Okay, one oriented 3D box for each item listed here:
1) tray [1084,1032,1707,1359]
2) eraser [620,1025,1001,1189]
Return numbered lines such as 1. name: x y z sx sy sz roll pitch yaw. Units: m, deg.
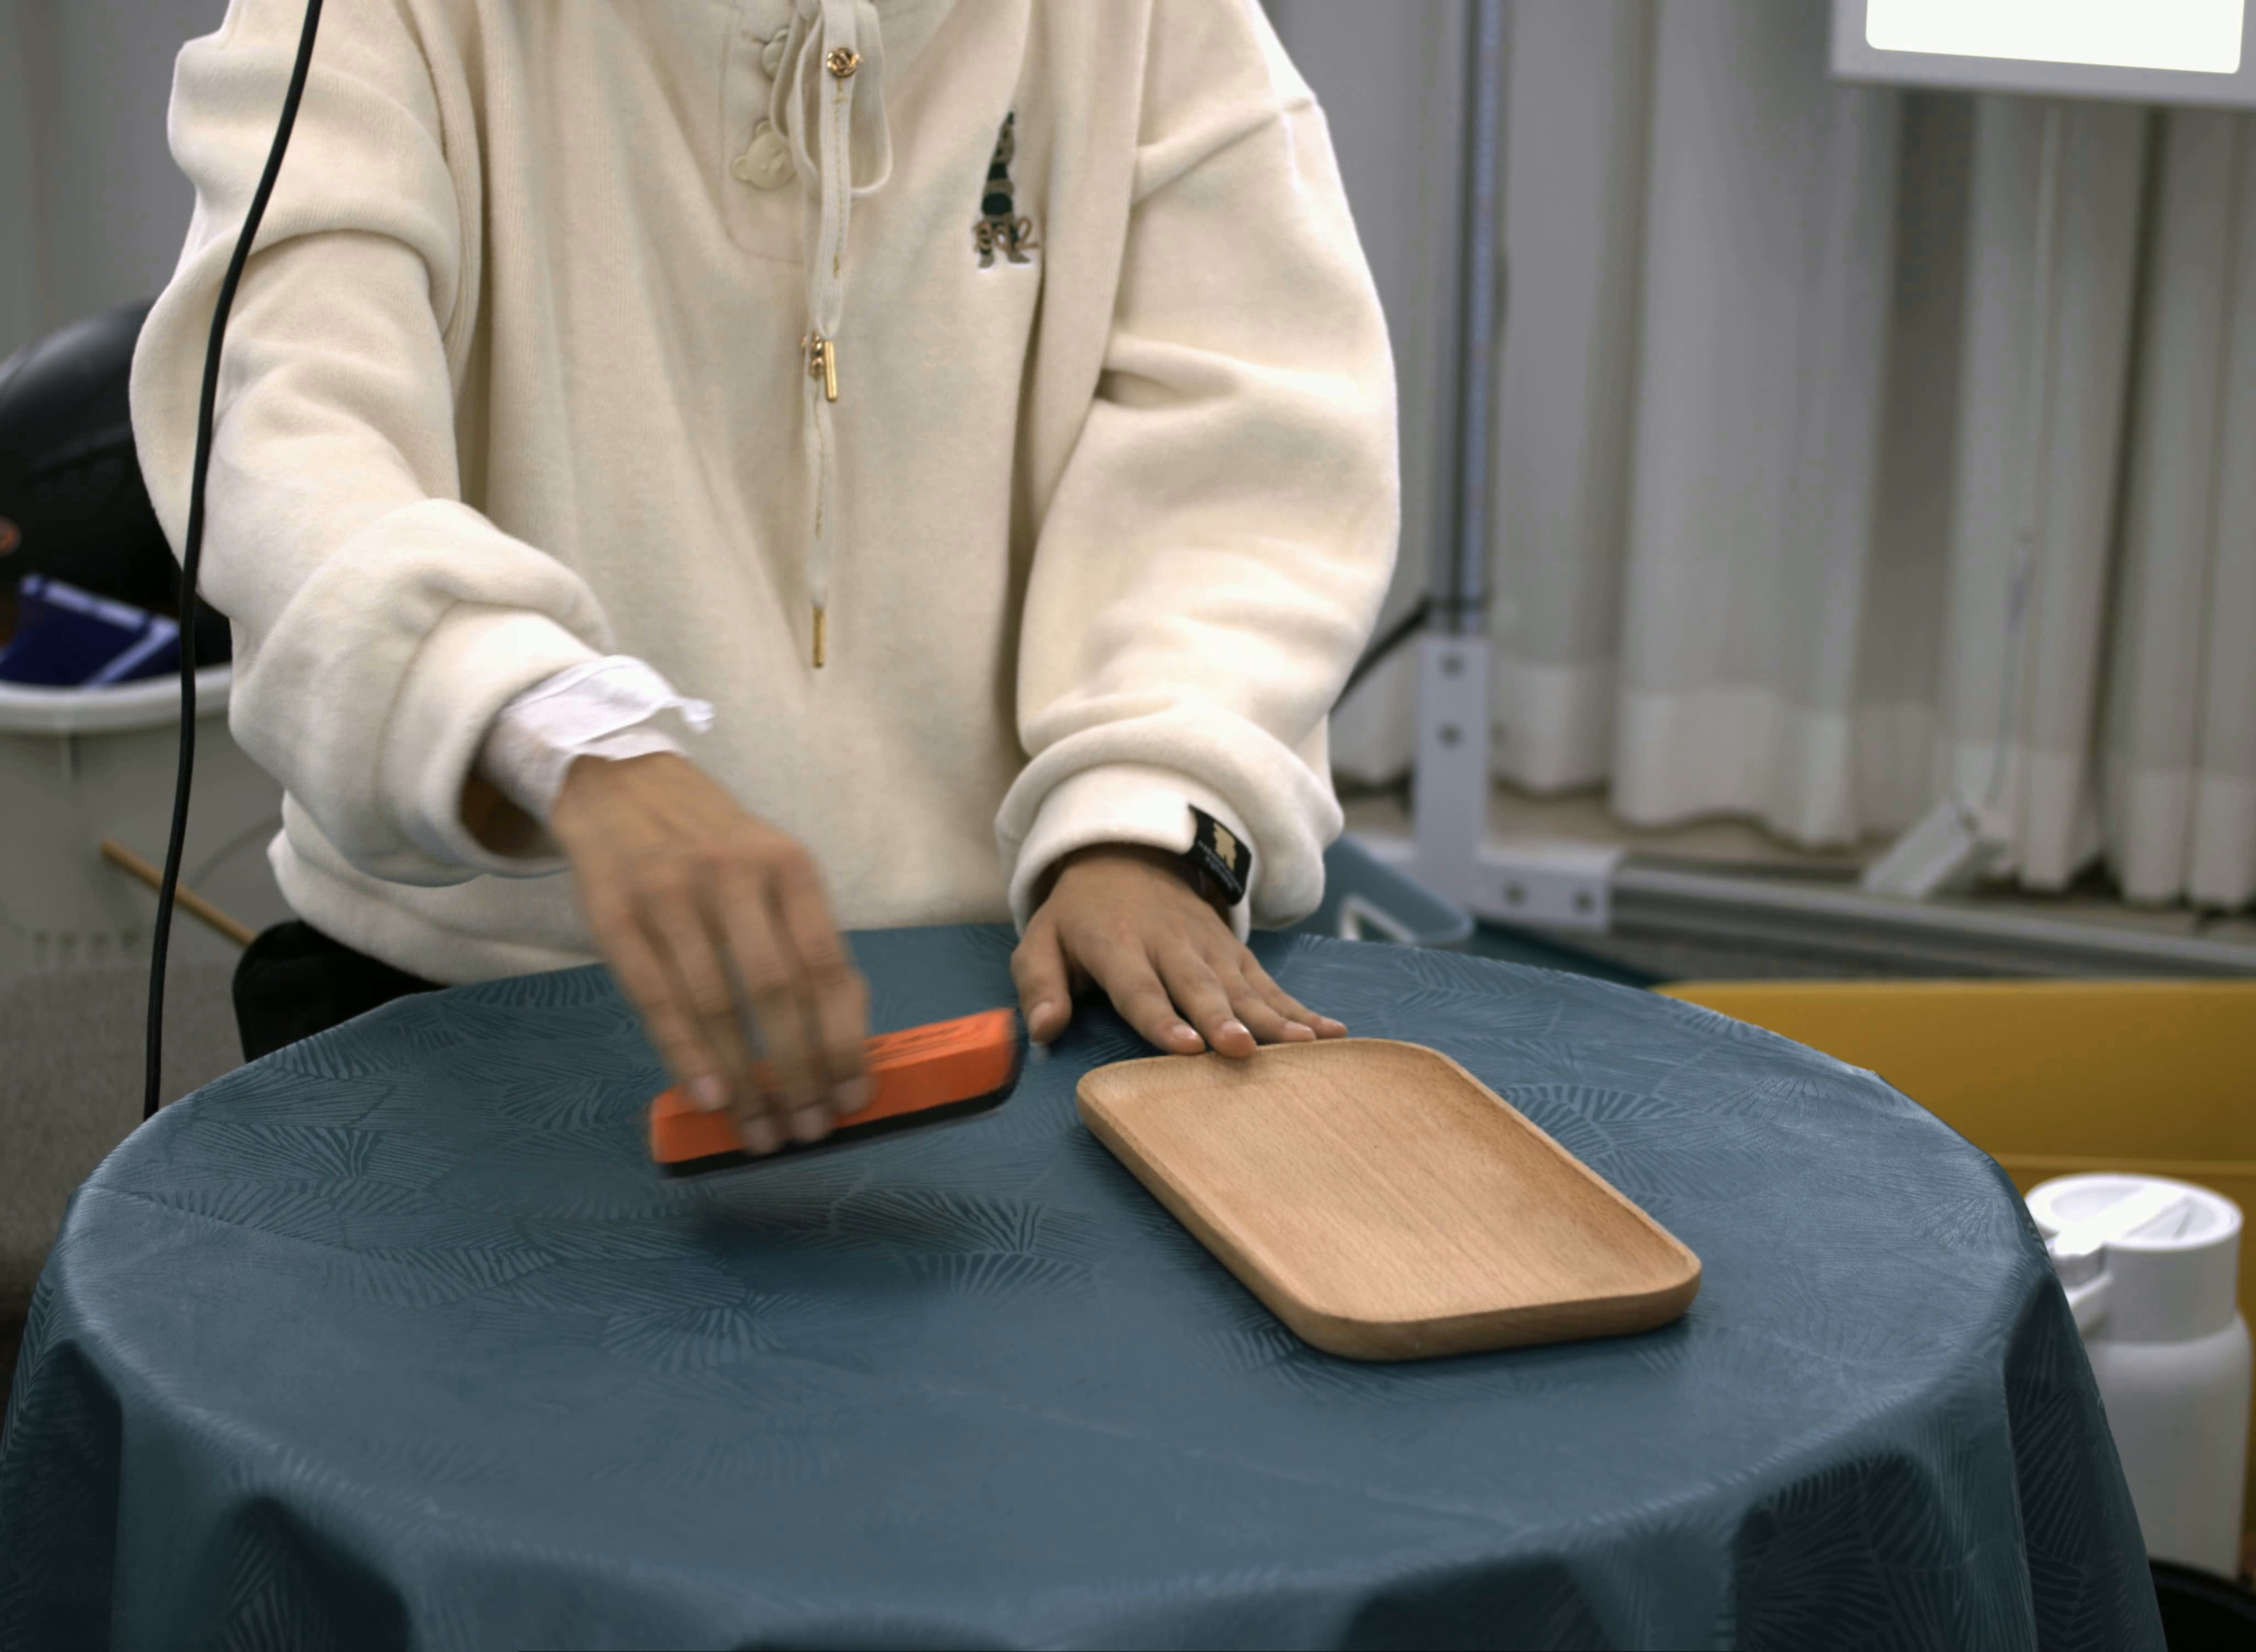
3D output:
1. tray: 0.076 0.109 1.601 0.131 0.023 0.248 -2 15 -17
2. eraser: -0.094 0.084 1.578 0.107 0.023 0.059 -11 8 8
